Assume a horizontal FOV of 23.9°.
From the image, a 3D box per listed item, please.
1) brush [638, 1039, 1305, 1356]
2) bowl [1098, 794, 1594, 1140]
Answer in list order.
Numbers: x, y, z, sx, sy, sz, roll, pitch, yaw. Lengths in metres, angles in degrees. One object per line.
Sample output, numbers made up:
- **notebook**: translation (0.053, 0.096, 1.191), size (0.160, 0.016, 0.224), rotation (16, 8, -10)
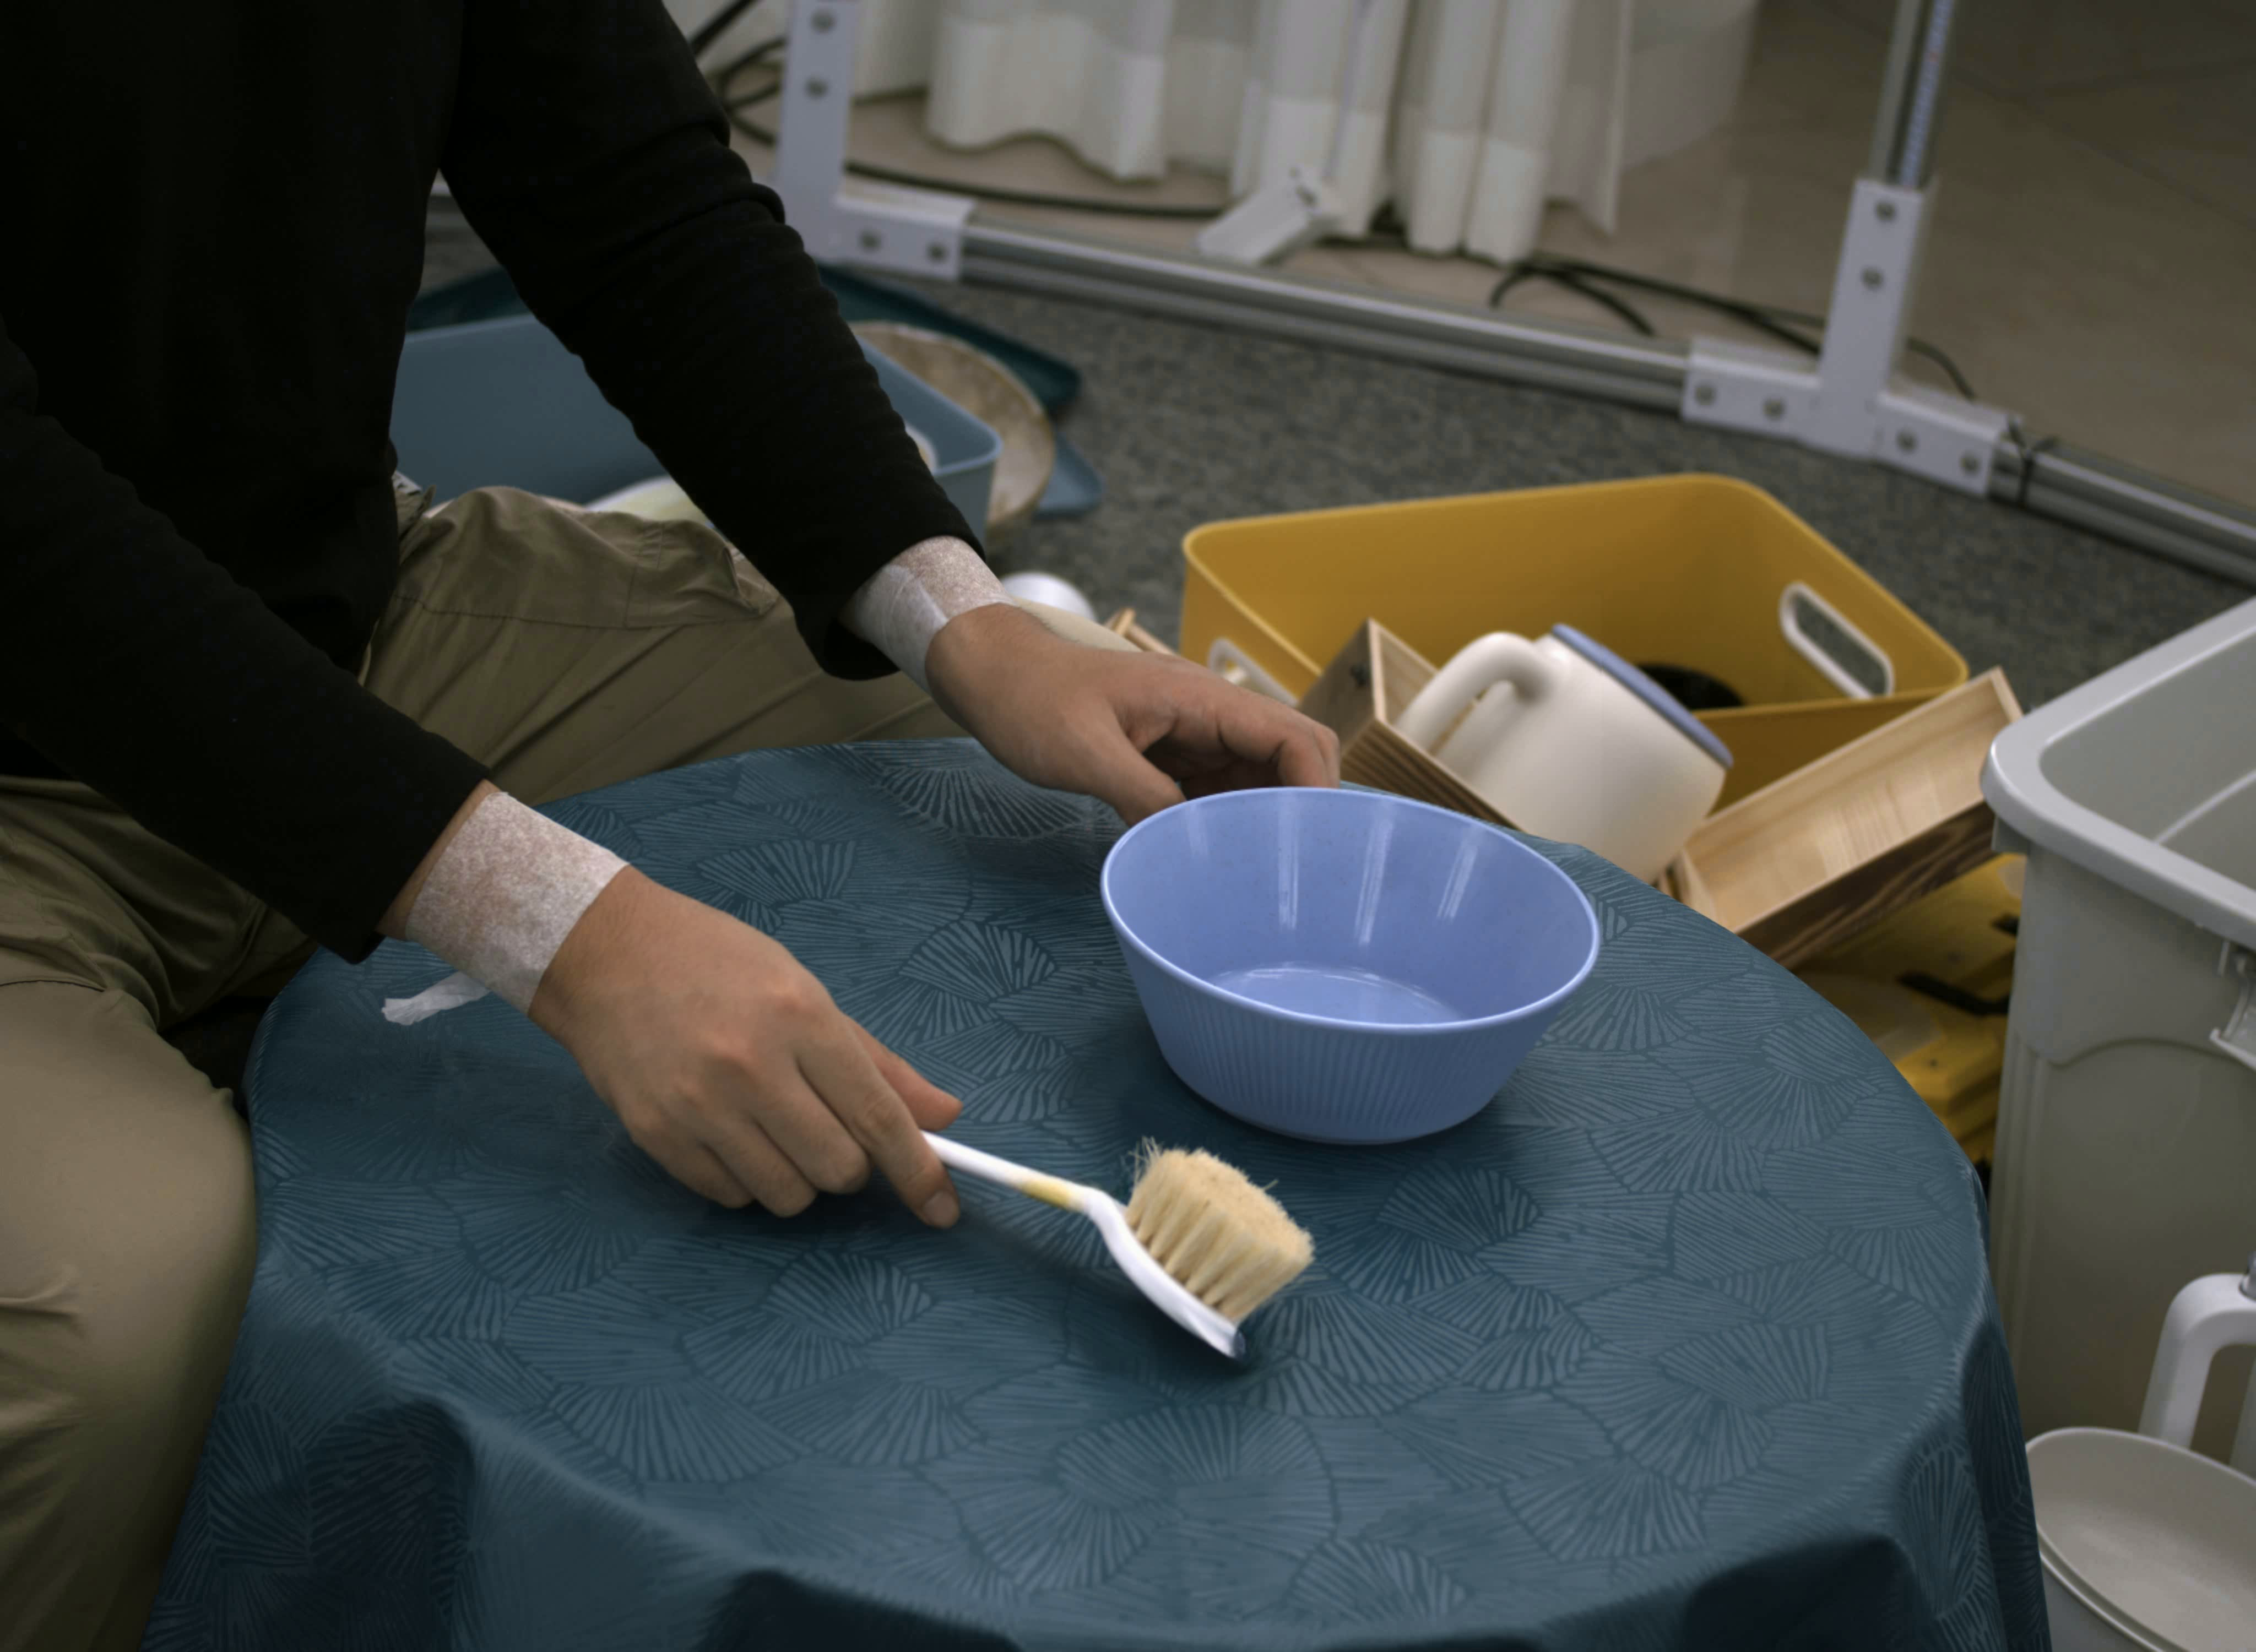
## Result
- **brush**: translation (-0.054, 0.100, 1.764), size (0.268, 0.056, 0.068), rotation (23, -7, 34)
- **bowl**: translation (0.073, 0.055, 1.874), size (0.175, 0.070, 0.177), rotation (5, 26, -3)
